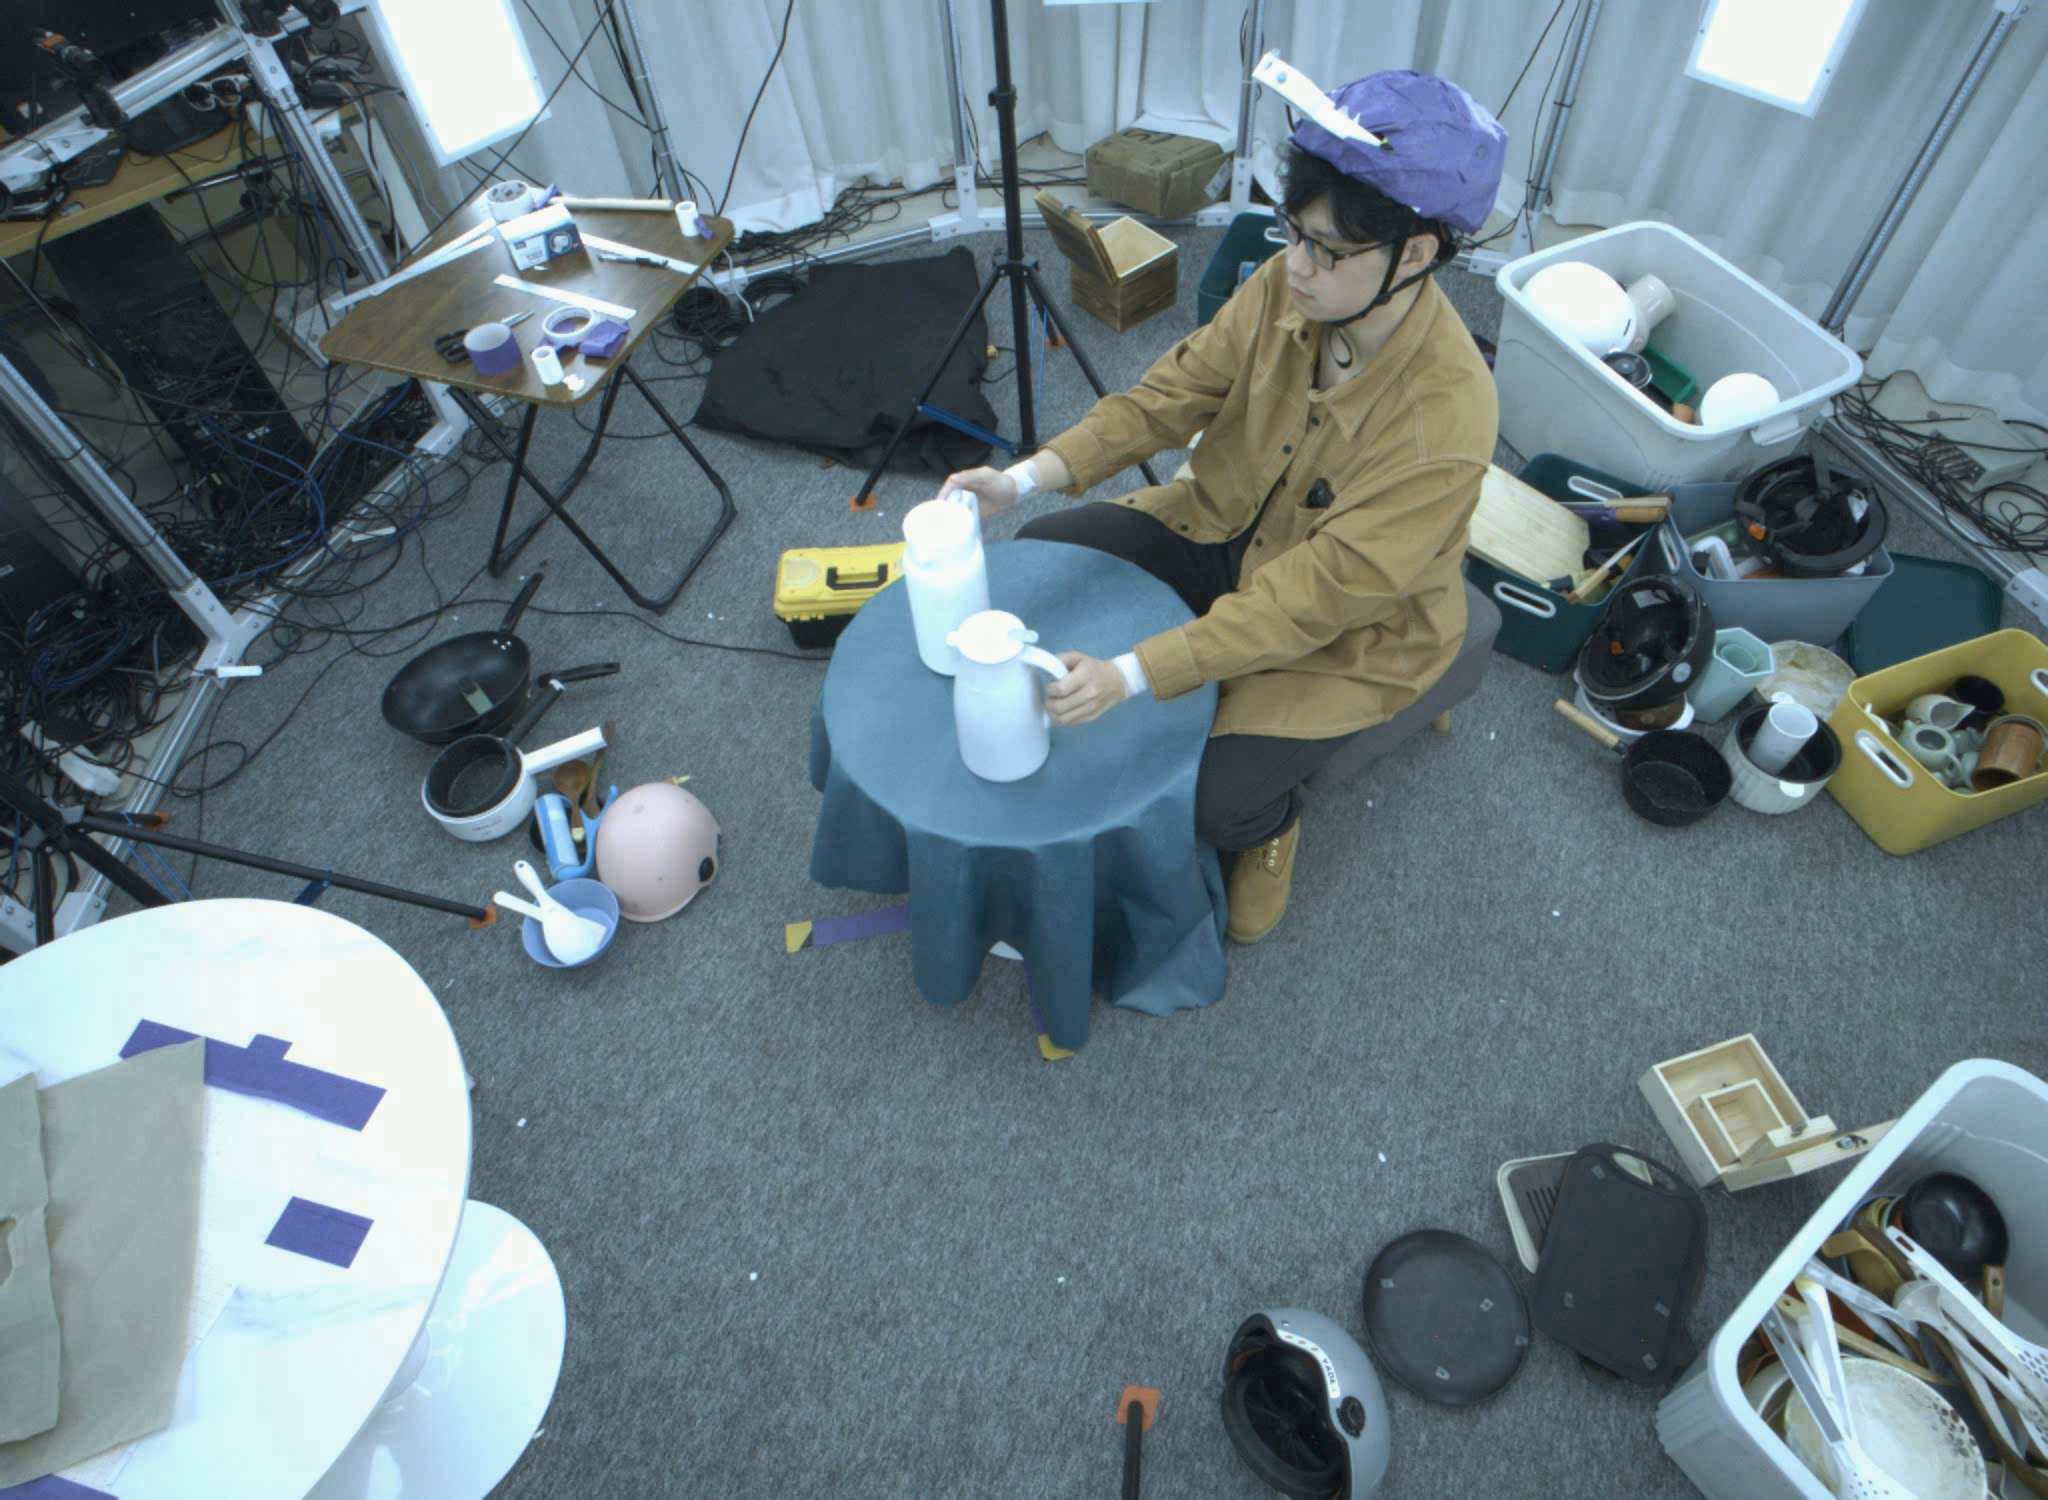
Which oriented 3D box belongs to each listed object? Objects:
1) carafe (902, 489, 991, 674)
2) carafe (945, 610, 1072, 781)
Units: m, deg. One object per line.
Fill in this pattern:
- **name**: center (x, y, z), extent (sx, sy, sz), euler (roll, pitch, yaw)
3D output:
- **carafe**: center (-0.108, -0.249, 1.799), extent (0.122, 0.272, 0.172), euler (13, 56, 15)
- **carafe**: center (-0.017, -0.078, 1.686), extent (0.167, 0.251, 0.132), euler (7, 55, 8)
